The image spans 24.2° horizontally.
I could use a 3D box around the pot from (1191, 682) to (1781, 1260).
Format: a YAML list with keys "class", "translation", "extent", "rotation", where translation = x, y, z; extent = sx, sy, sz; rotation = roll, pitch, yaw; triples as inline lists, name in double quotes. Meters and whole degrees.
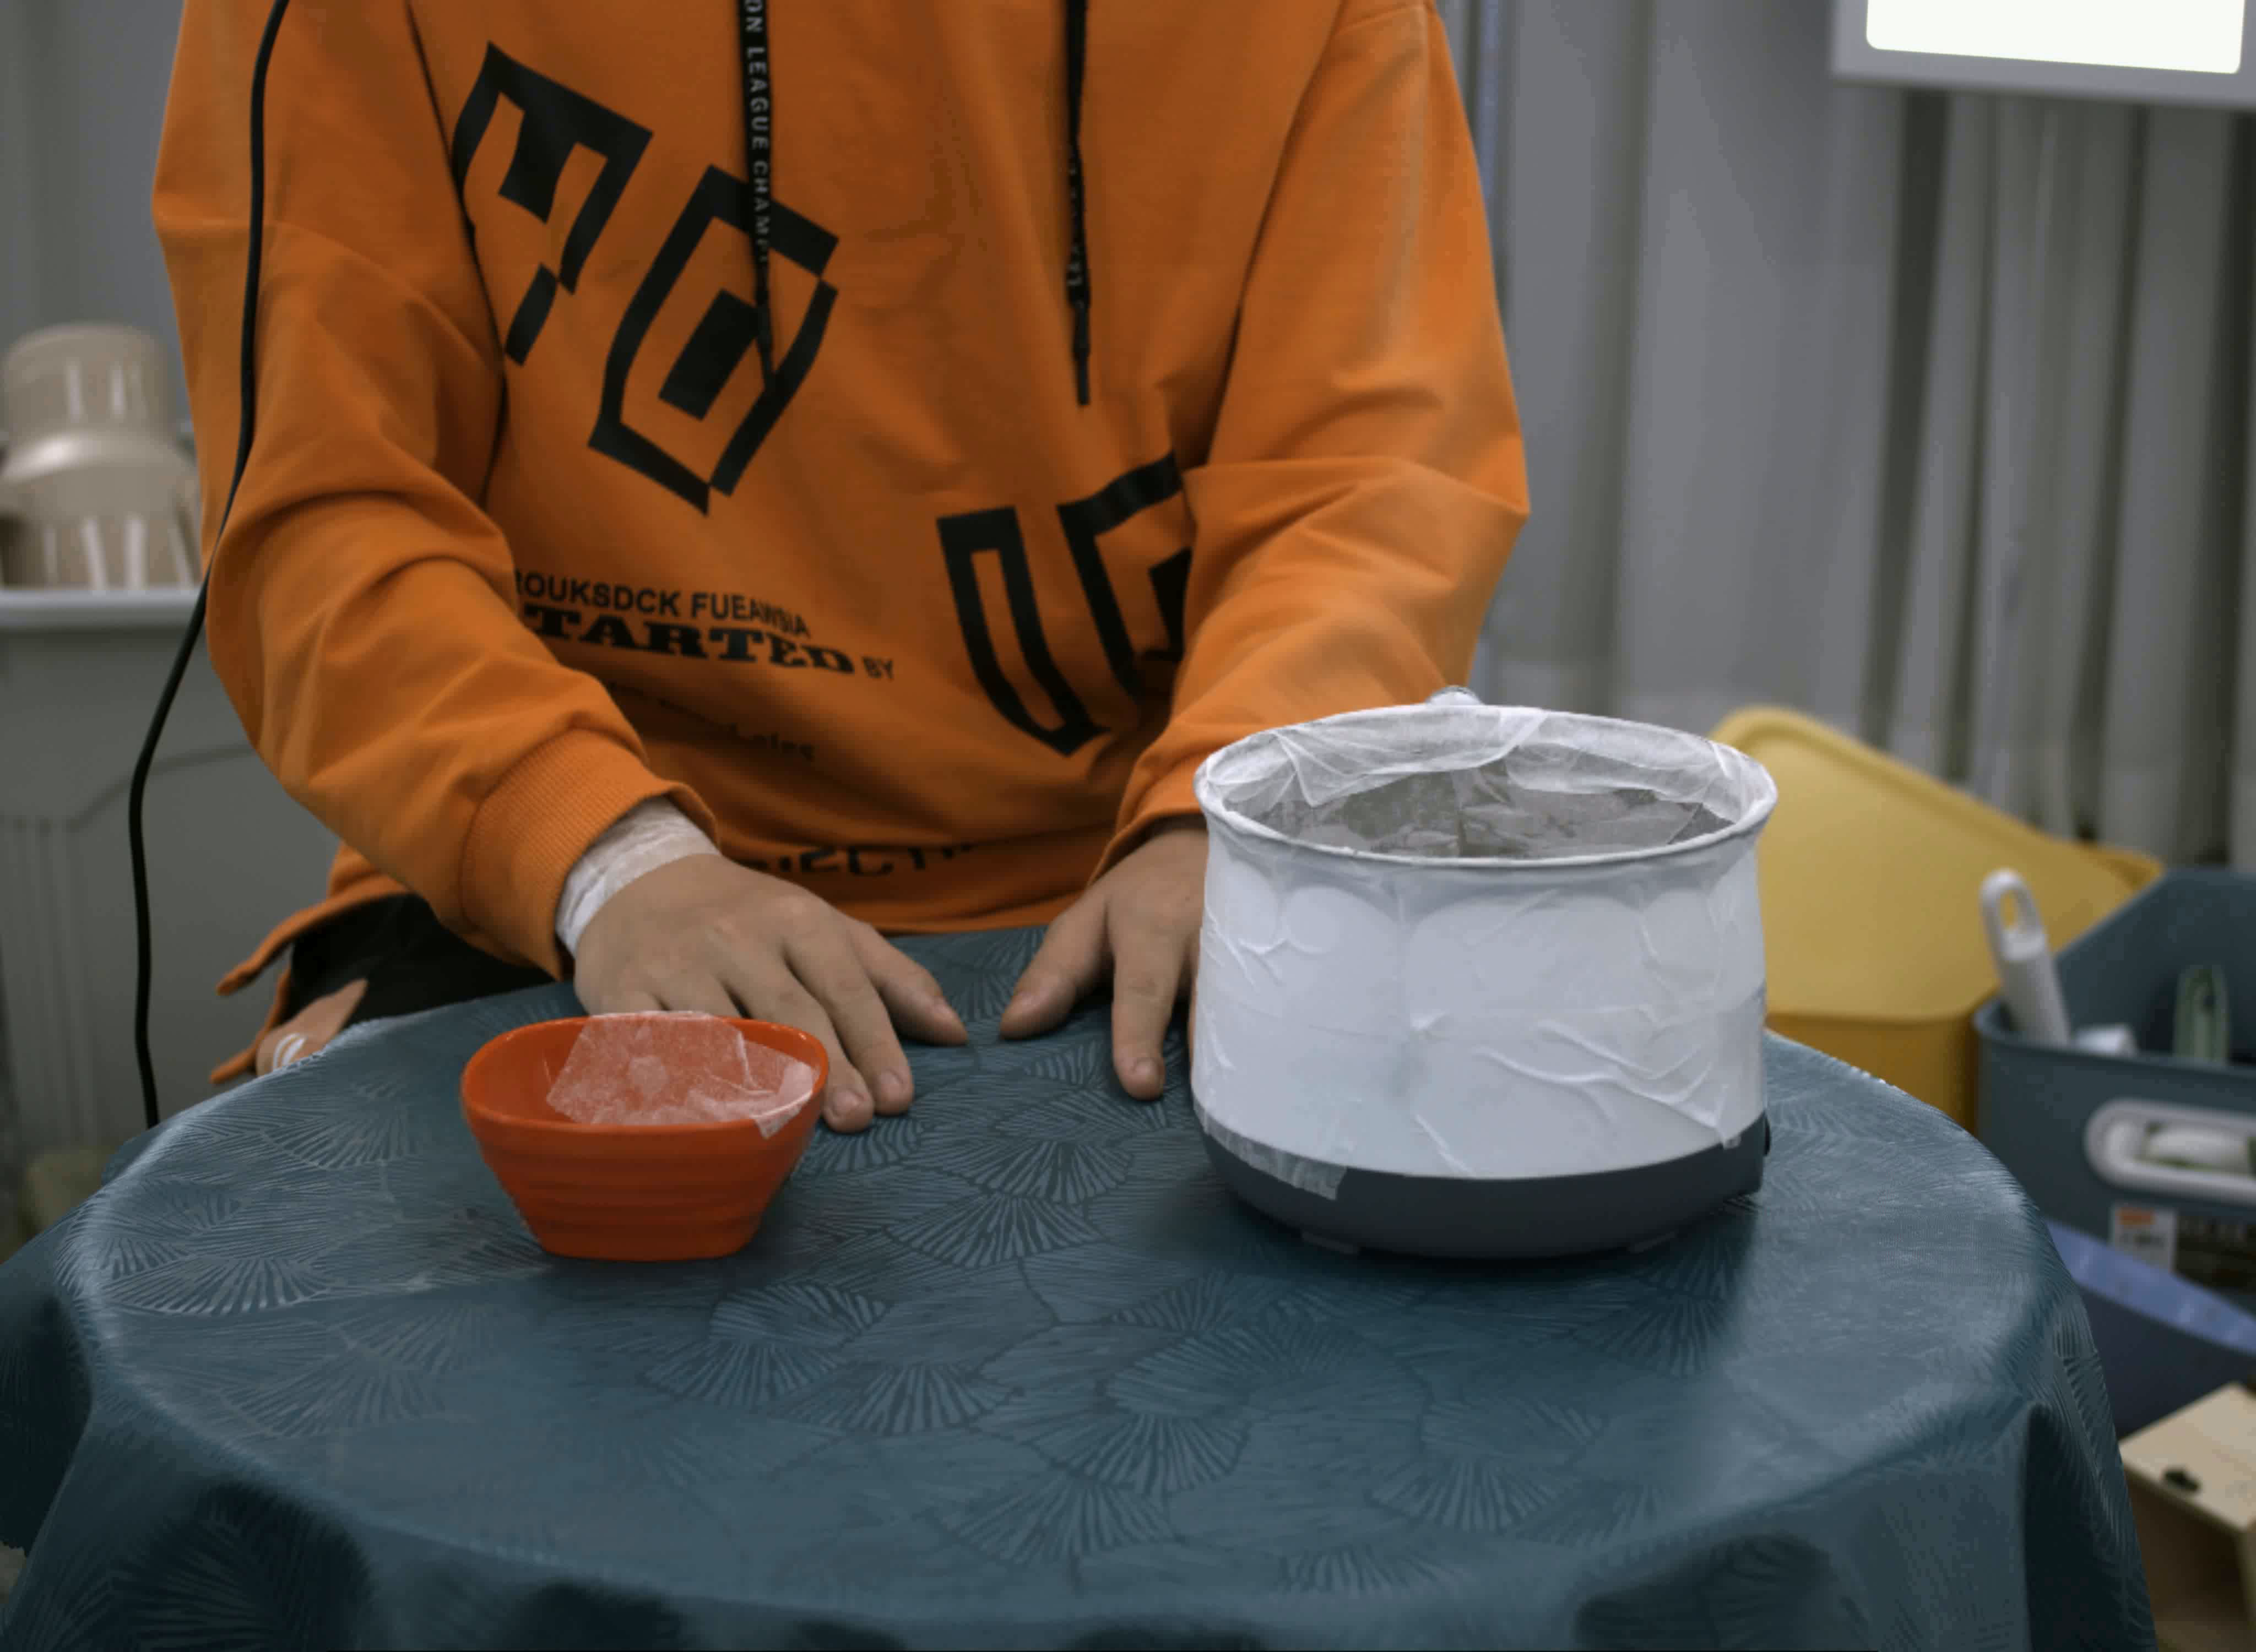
- class: "pot"
  translation: [0.106, 0.040, 1.629]
  extent: [0.178, 0.138, 0.232]
  rotation: [0, 16, -4]

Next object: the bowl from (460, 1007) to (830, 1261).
- class: "bowl"
  translation: [-0.144, 0.095, 1.583]
  extent: [0.118, 0.052, 0.118]
  rotation: [0, 18, 1]
